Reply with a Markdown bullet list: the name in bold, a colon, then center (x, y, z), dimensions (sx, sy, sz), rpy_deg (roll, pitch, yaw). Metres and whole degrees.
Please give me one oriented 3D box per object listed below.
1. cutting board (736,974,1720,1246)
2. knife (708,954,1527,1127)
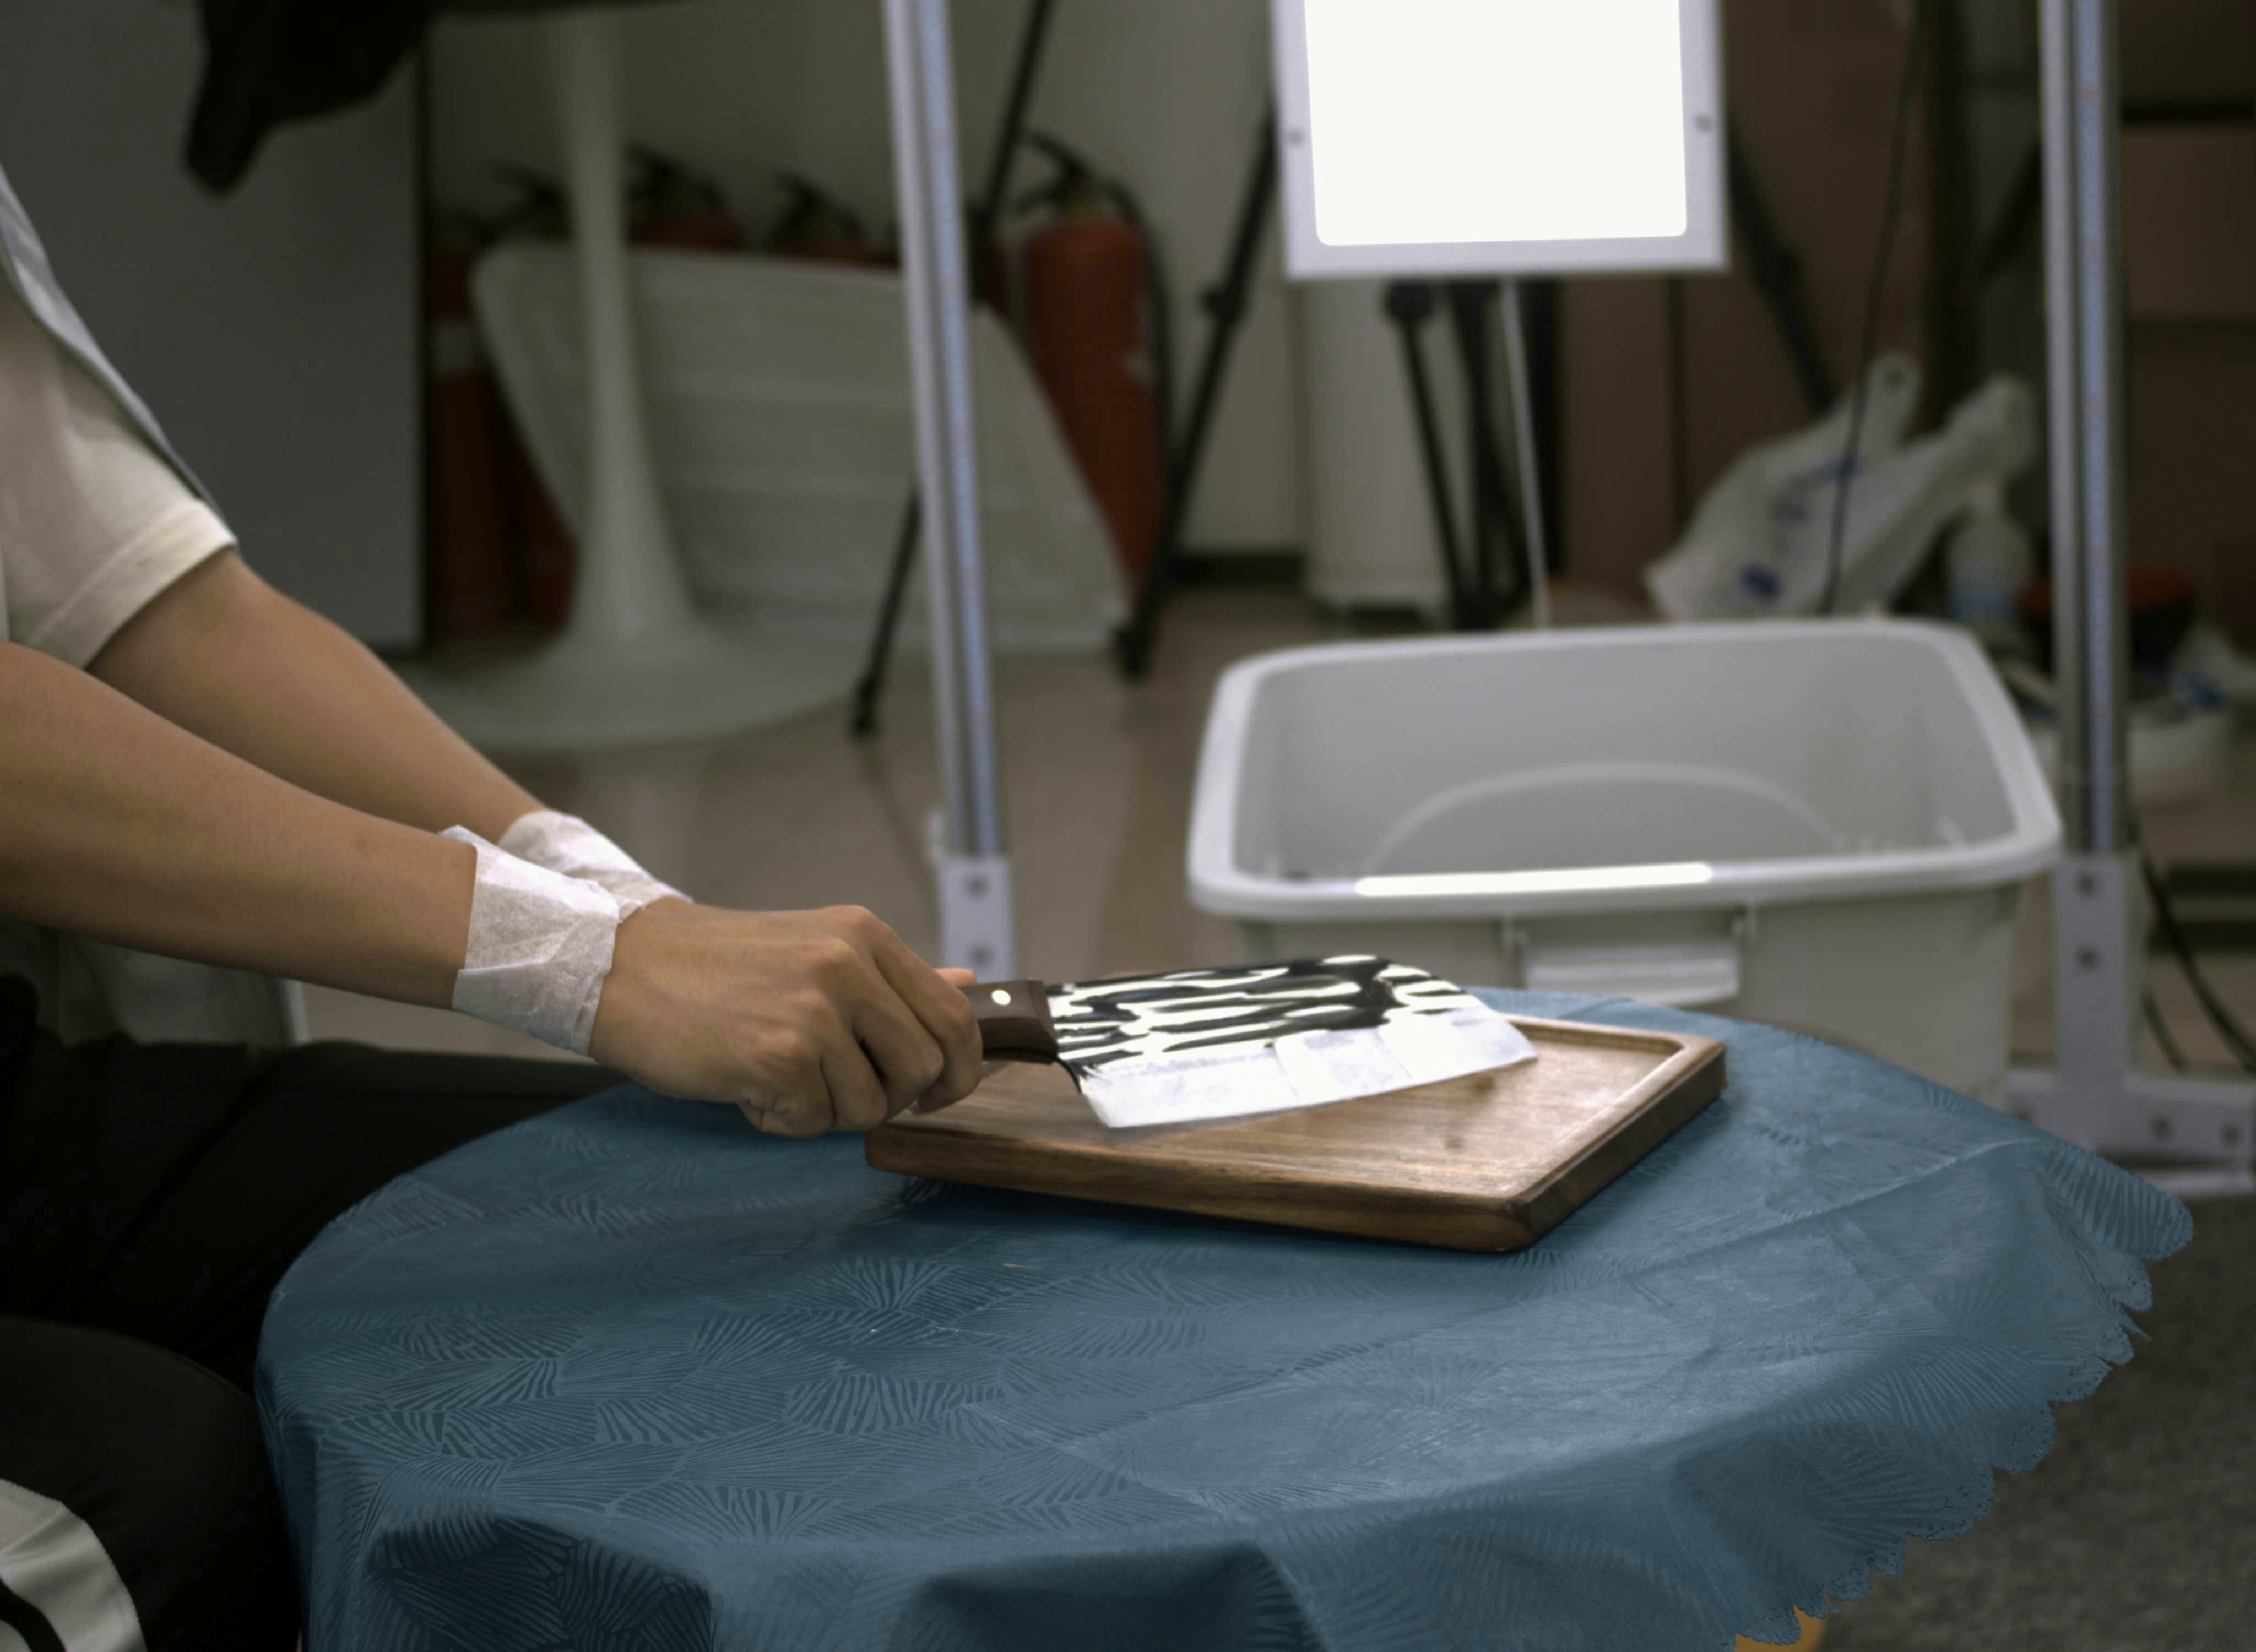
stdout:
- **cutting board**: center (0.016, 0.092, 1.953), dimensions (0.358, 0.023, 0.196), rpy_deg (5, 16, 28)
- **knife**: center (0.002, 0.076, 1.904), dimensions (0.293, 0.024, 0.068), rpy_deg (-5, 47, -23)
